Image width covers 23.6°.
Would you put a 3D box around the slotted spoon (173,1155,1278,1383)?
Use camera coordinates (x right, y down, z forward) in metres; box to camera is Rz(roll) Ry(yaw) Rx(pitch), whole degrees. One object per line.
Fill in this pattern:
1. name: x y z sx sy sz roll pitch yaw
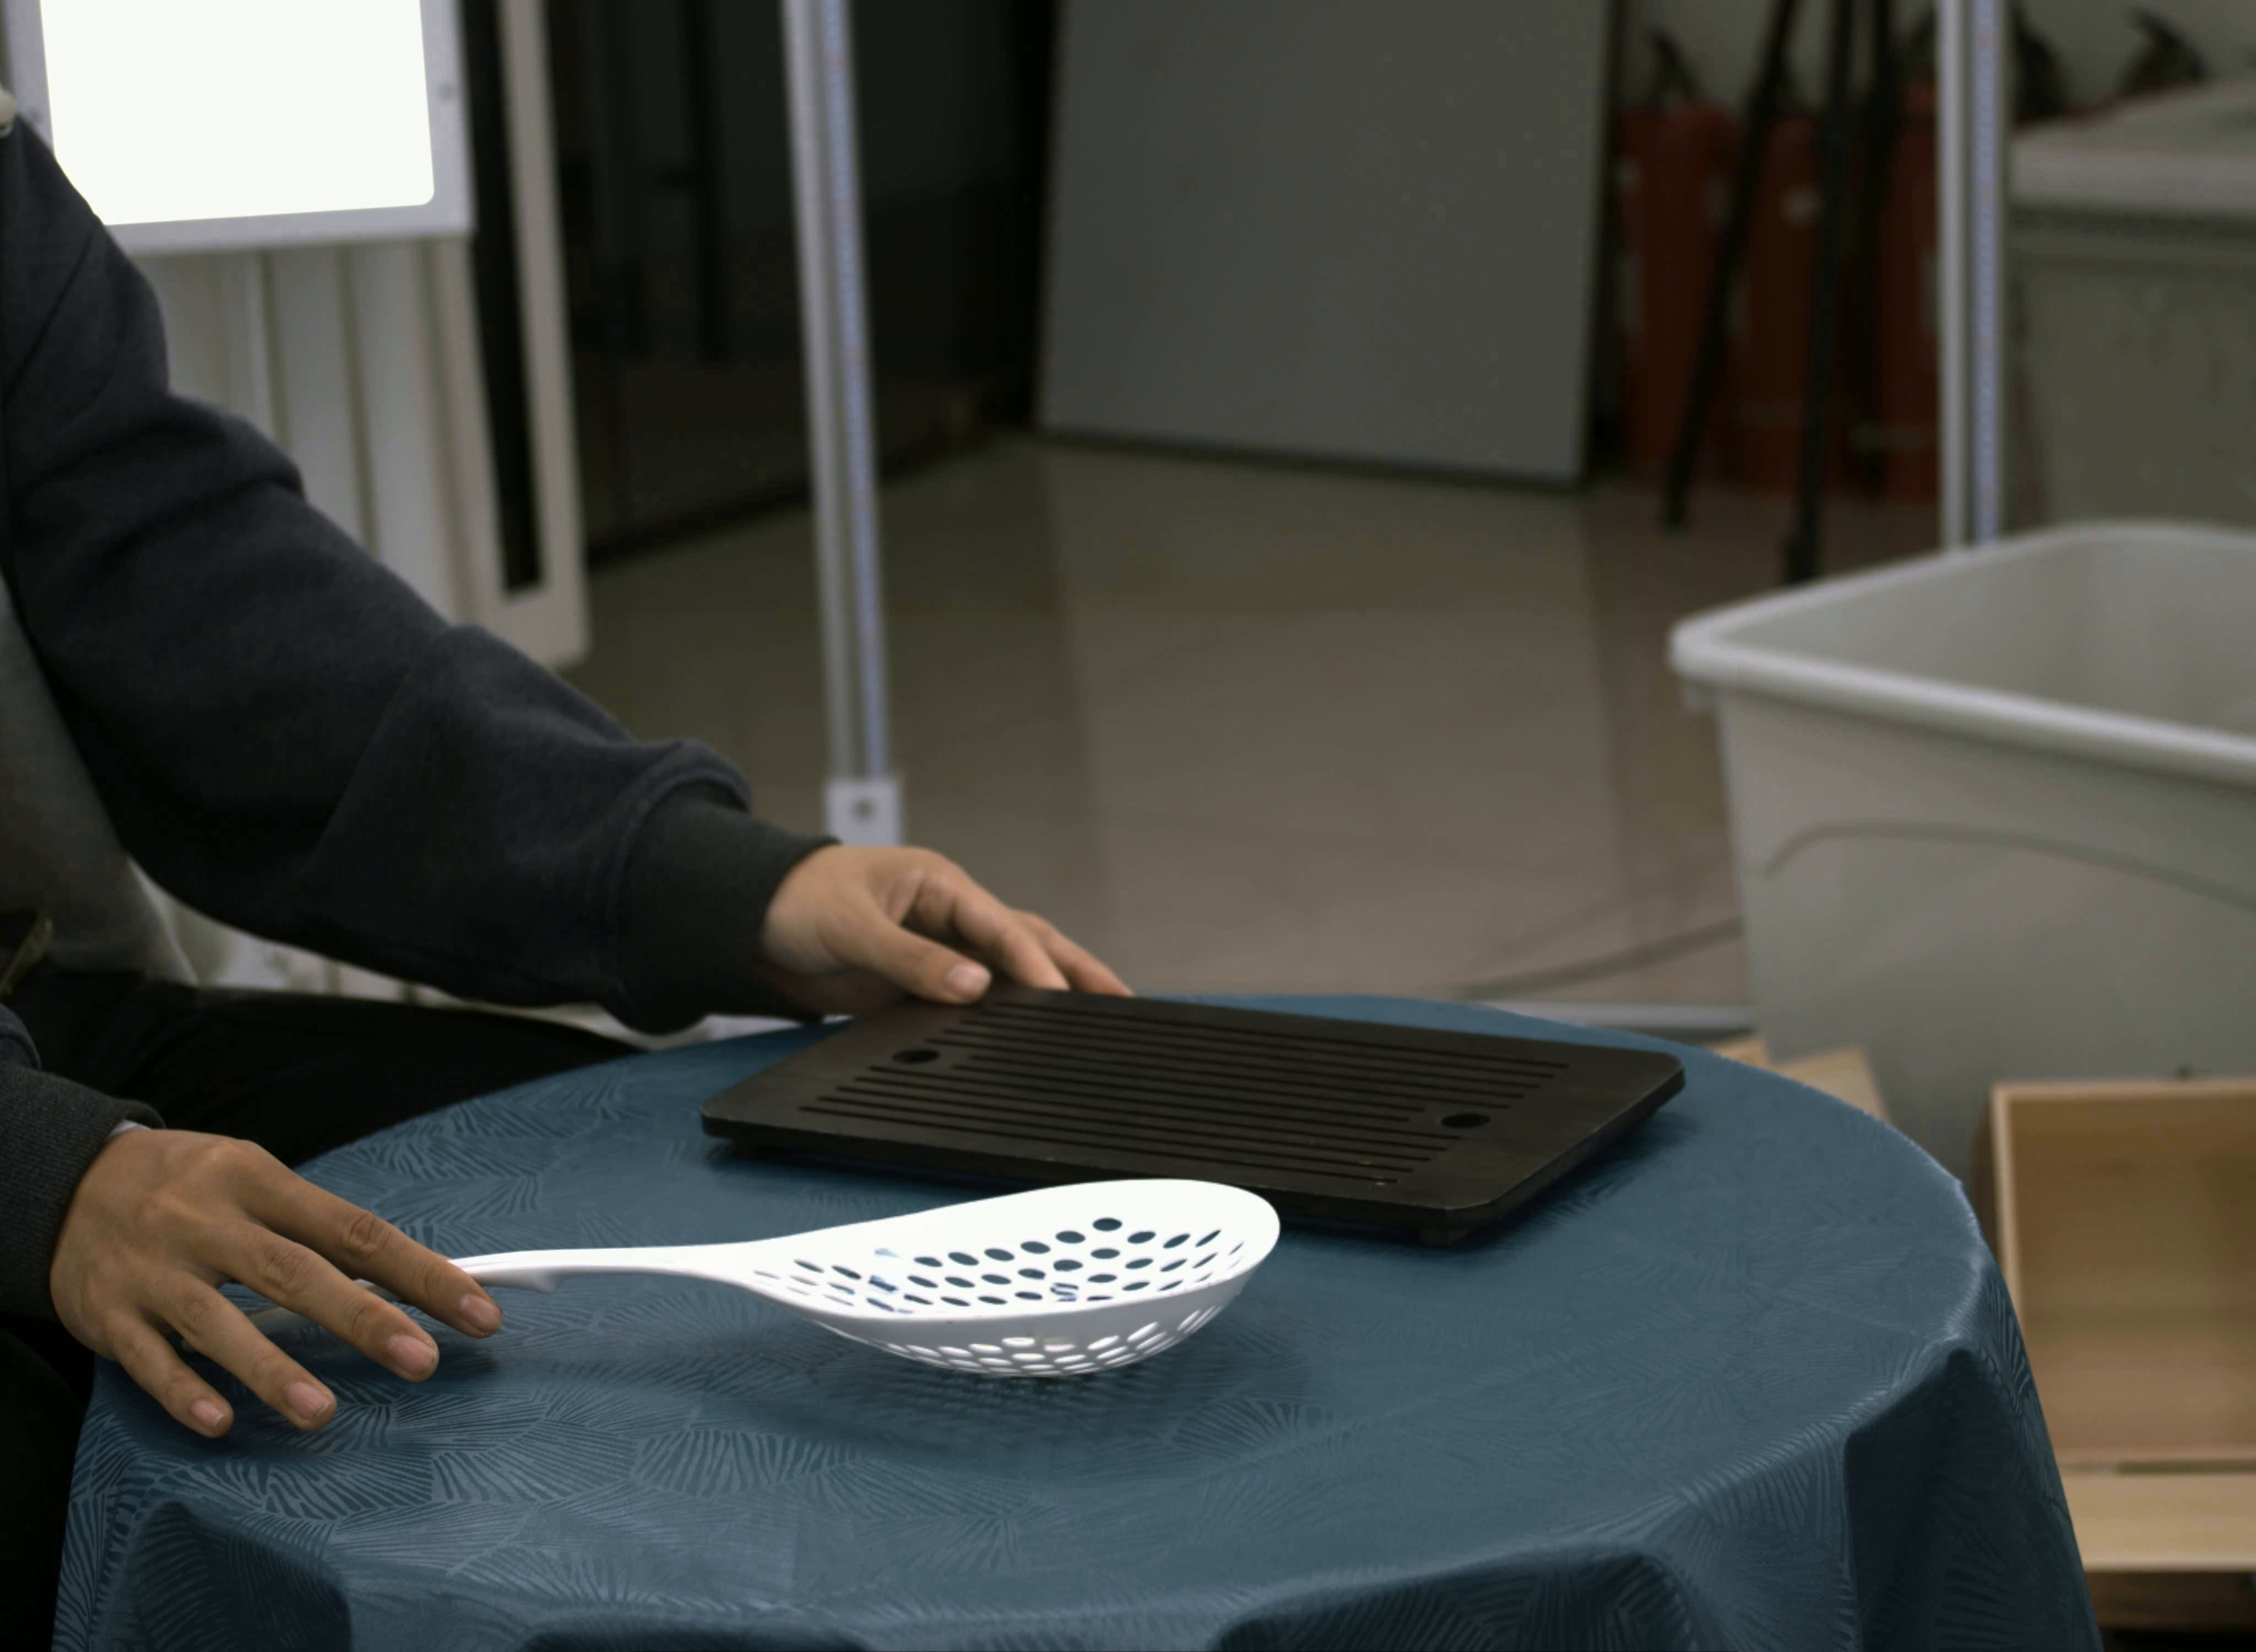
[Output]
1. slotted spoon: -0.124 0.142 1.631 0.346 0.051 0.136 -1 14 13

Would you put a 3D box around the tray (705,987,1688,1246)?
1. tray: 0.023 0.096 1.826 0.307 0.019 0.167 4 16 32
